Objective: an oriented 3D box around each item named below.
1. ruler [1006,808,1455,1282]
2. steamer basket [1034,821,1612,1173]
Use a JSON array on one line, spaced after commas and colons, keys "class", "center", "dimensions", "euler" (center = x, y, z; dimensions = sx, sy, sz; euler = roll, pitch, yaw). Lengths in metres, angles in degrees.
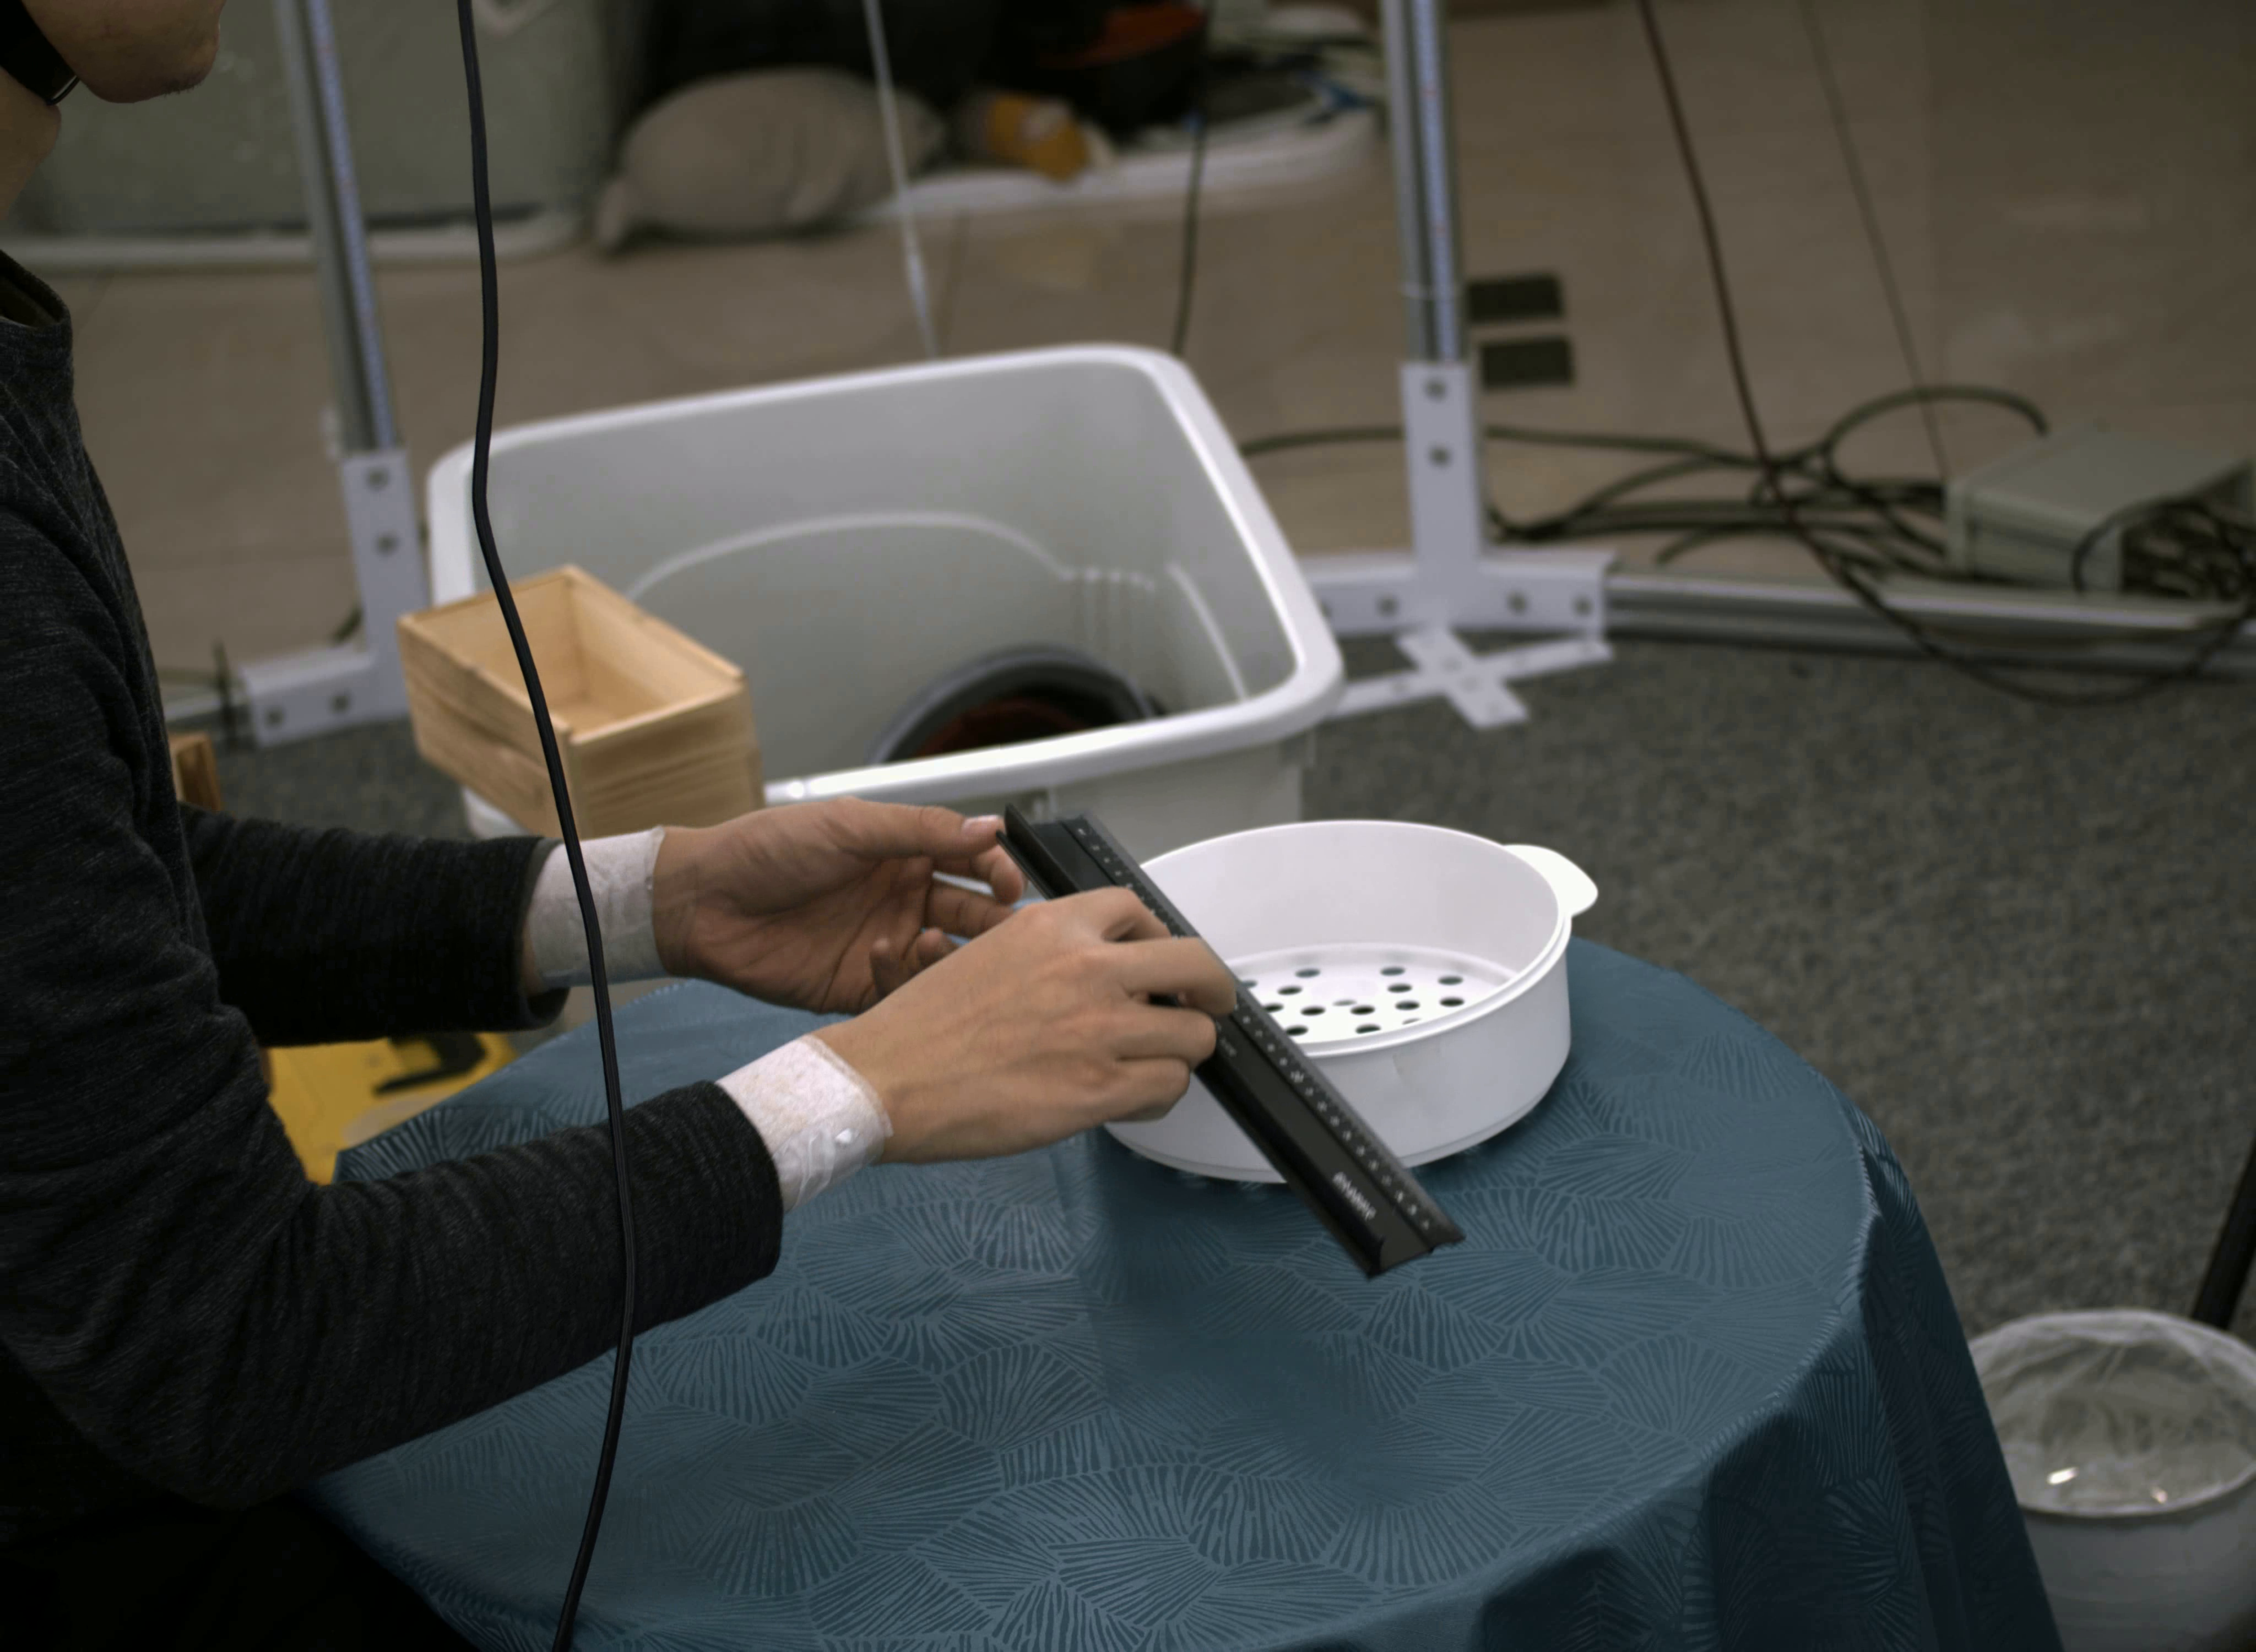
[{"class": "ruler", "center": [0.033, 0.068, 2.032], "dimensions": [0.039, 0.017, 0.308], "euler": [-19, 36, -17]}, {"class": "steamer basket", "center": [0.078, 0.067, 2.200], "dimensions": [0.230, 0.070, 0.199], "euler": [-12, 25, -17]}]
